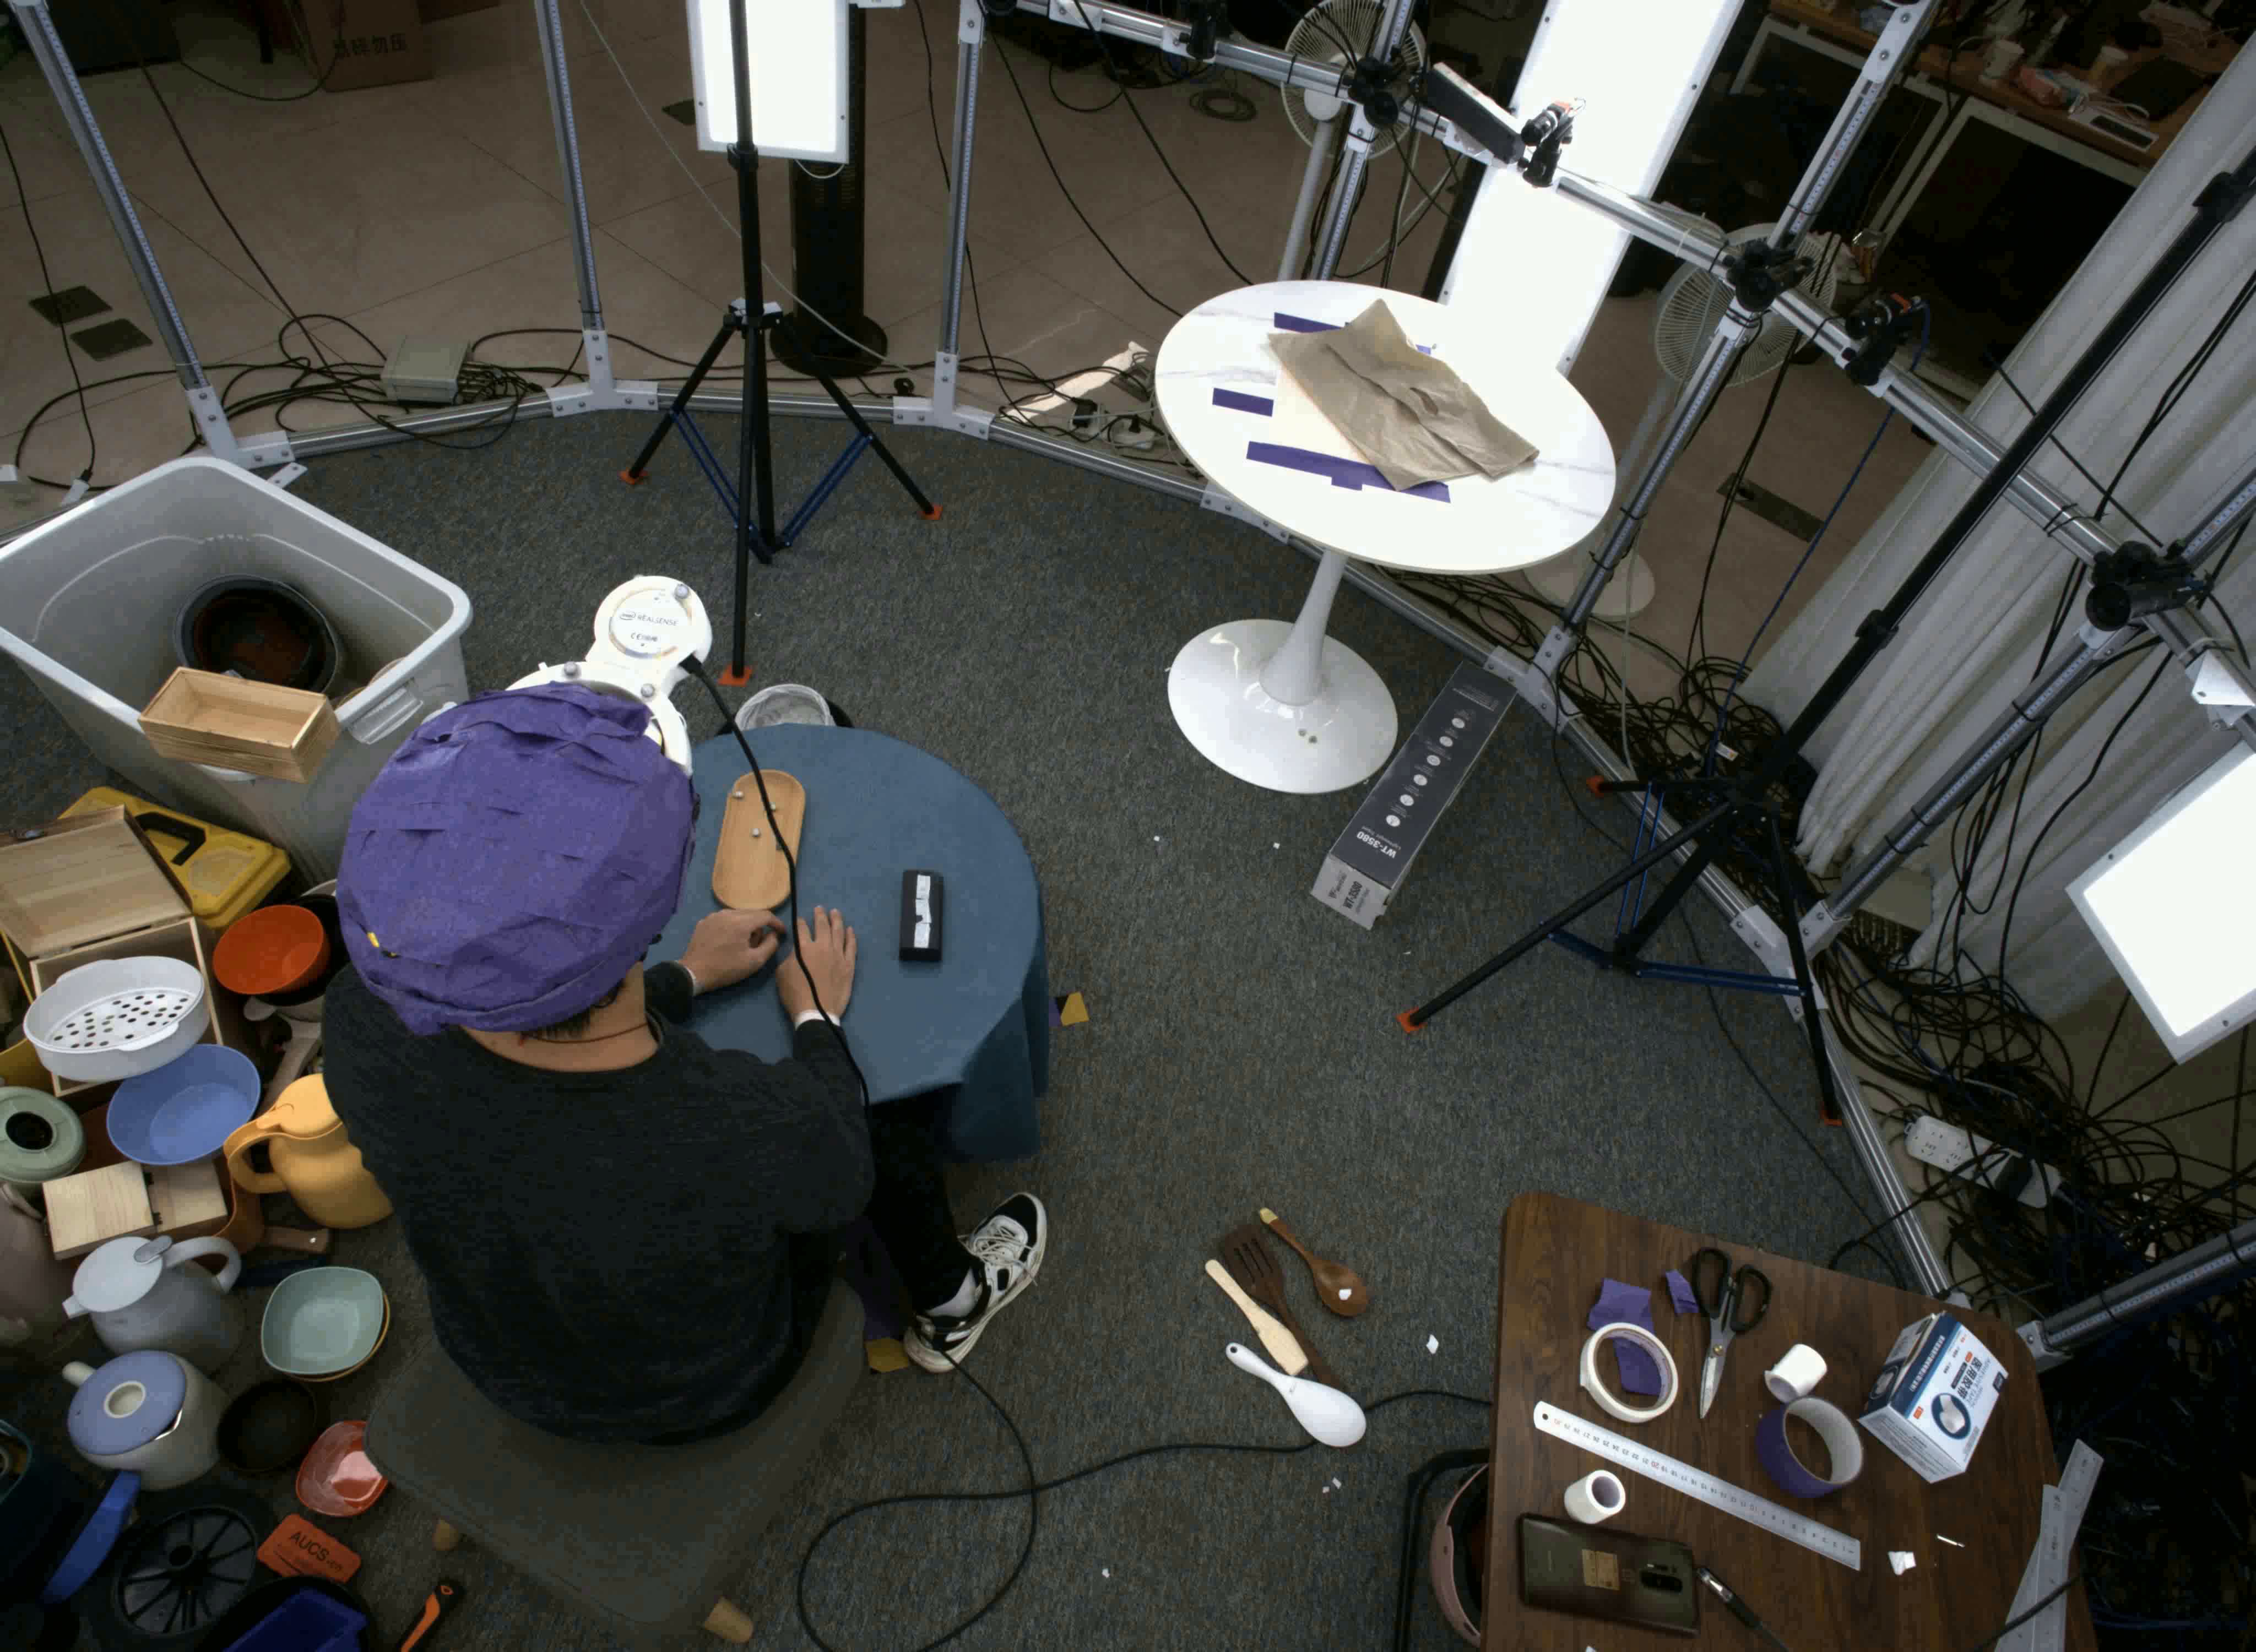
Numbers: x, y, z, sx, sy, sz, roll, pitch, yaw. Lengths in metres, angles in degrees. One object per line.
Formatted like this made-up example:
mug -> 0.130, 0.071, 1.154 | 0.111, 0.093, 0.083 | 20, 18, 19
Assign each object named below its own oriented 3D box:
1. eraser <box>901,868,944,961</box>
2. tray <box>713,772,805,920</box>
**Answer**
eraser -> -0.262, 0.110, 1.661 | 0.053, 0.031, 0.123 | 1, 55, -10
tray -> -0.477, 0.022, 1.678 | 0.101, 0.021, 0.227 | 4, 55, -10
